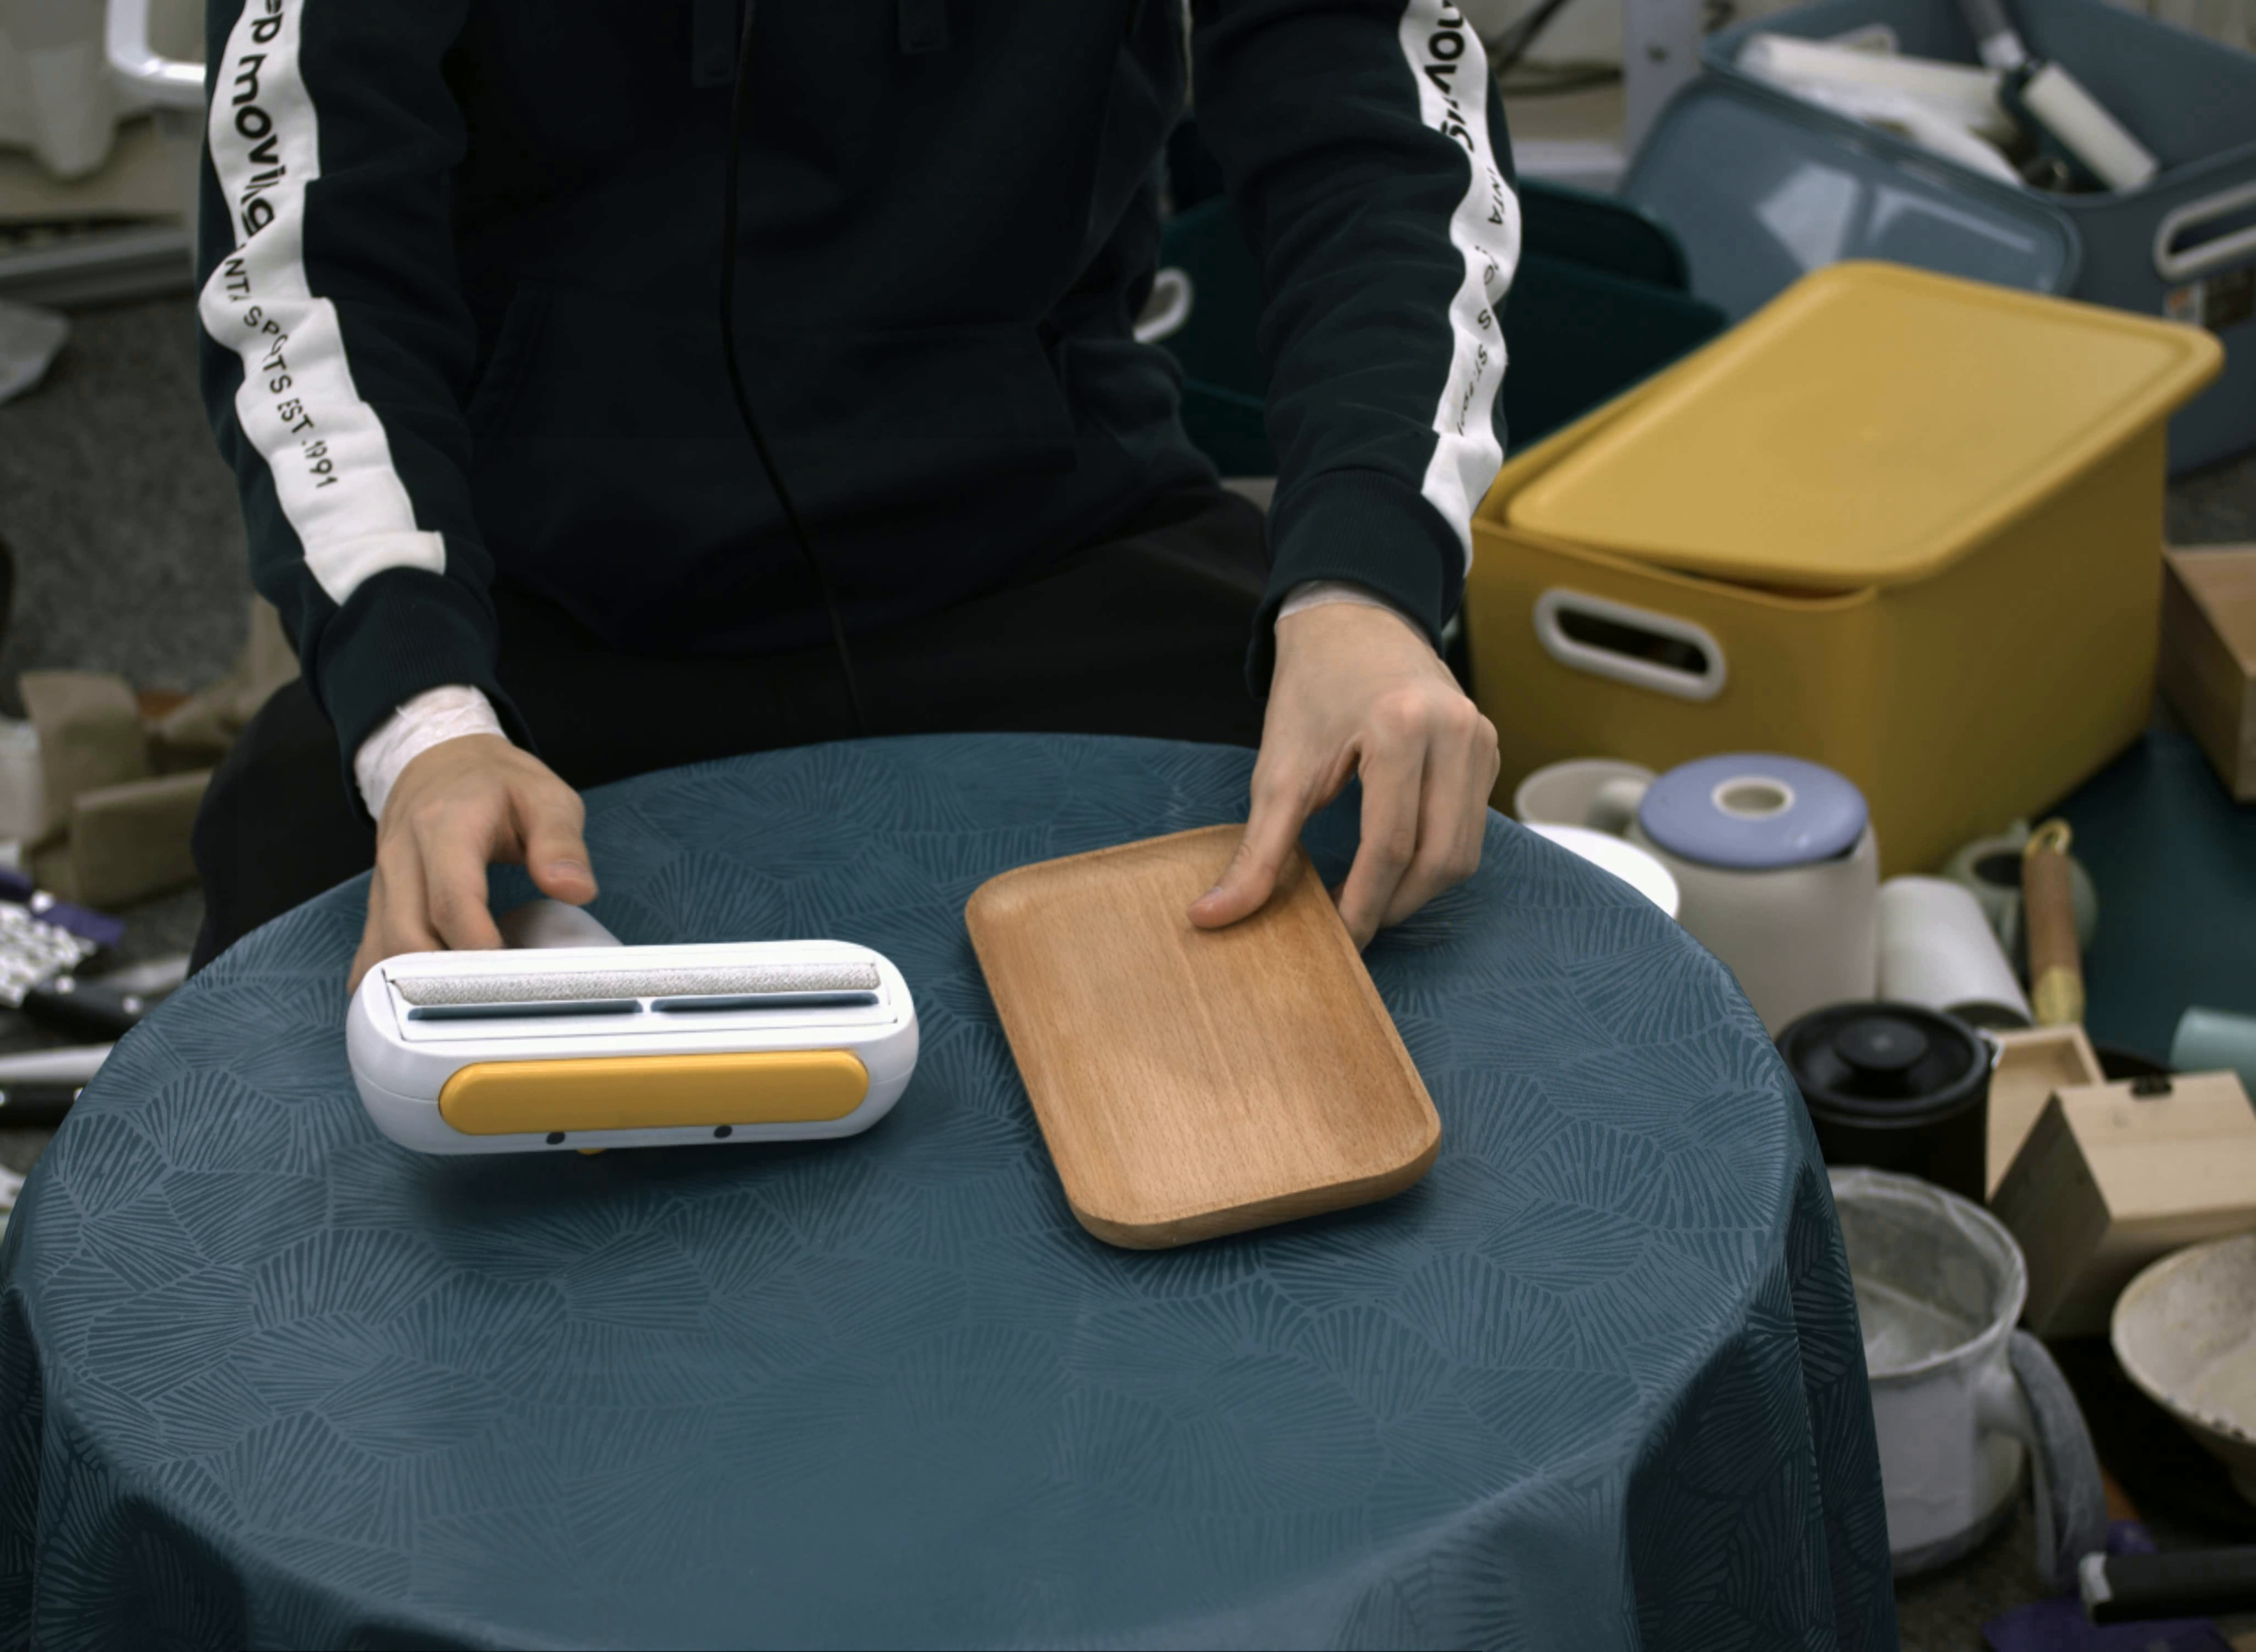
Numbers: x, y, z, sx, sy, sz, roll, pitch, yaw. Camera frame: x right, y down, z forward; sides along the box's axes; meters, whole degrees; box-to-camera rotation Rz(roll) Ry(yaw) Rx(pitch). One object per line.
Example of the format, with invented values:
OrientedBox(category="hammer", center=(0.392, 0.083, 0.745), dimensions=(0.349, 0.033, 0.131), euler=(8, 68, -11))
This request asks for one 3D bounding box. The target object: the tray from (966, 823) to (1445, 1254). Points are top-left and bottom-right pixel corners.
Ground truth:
OrientedBox(category="tray", center=(0.023, 0.070, 1.931), dimensions=(0.130, 0.022, 0.253), euler=(-9, 28, -7))

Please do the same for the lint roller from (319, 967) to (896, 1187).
OrientedBox(category="lint roller", center=(-0.186, 0.075, 1.935), dimensions=(0.192, 0.074, 0.193), euler=(-1, 12, -13))
